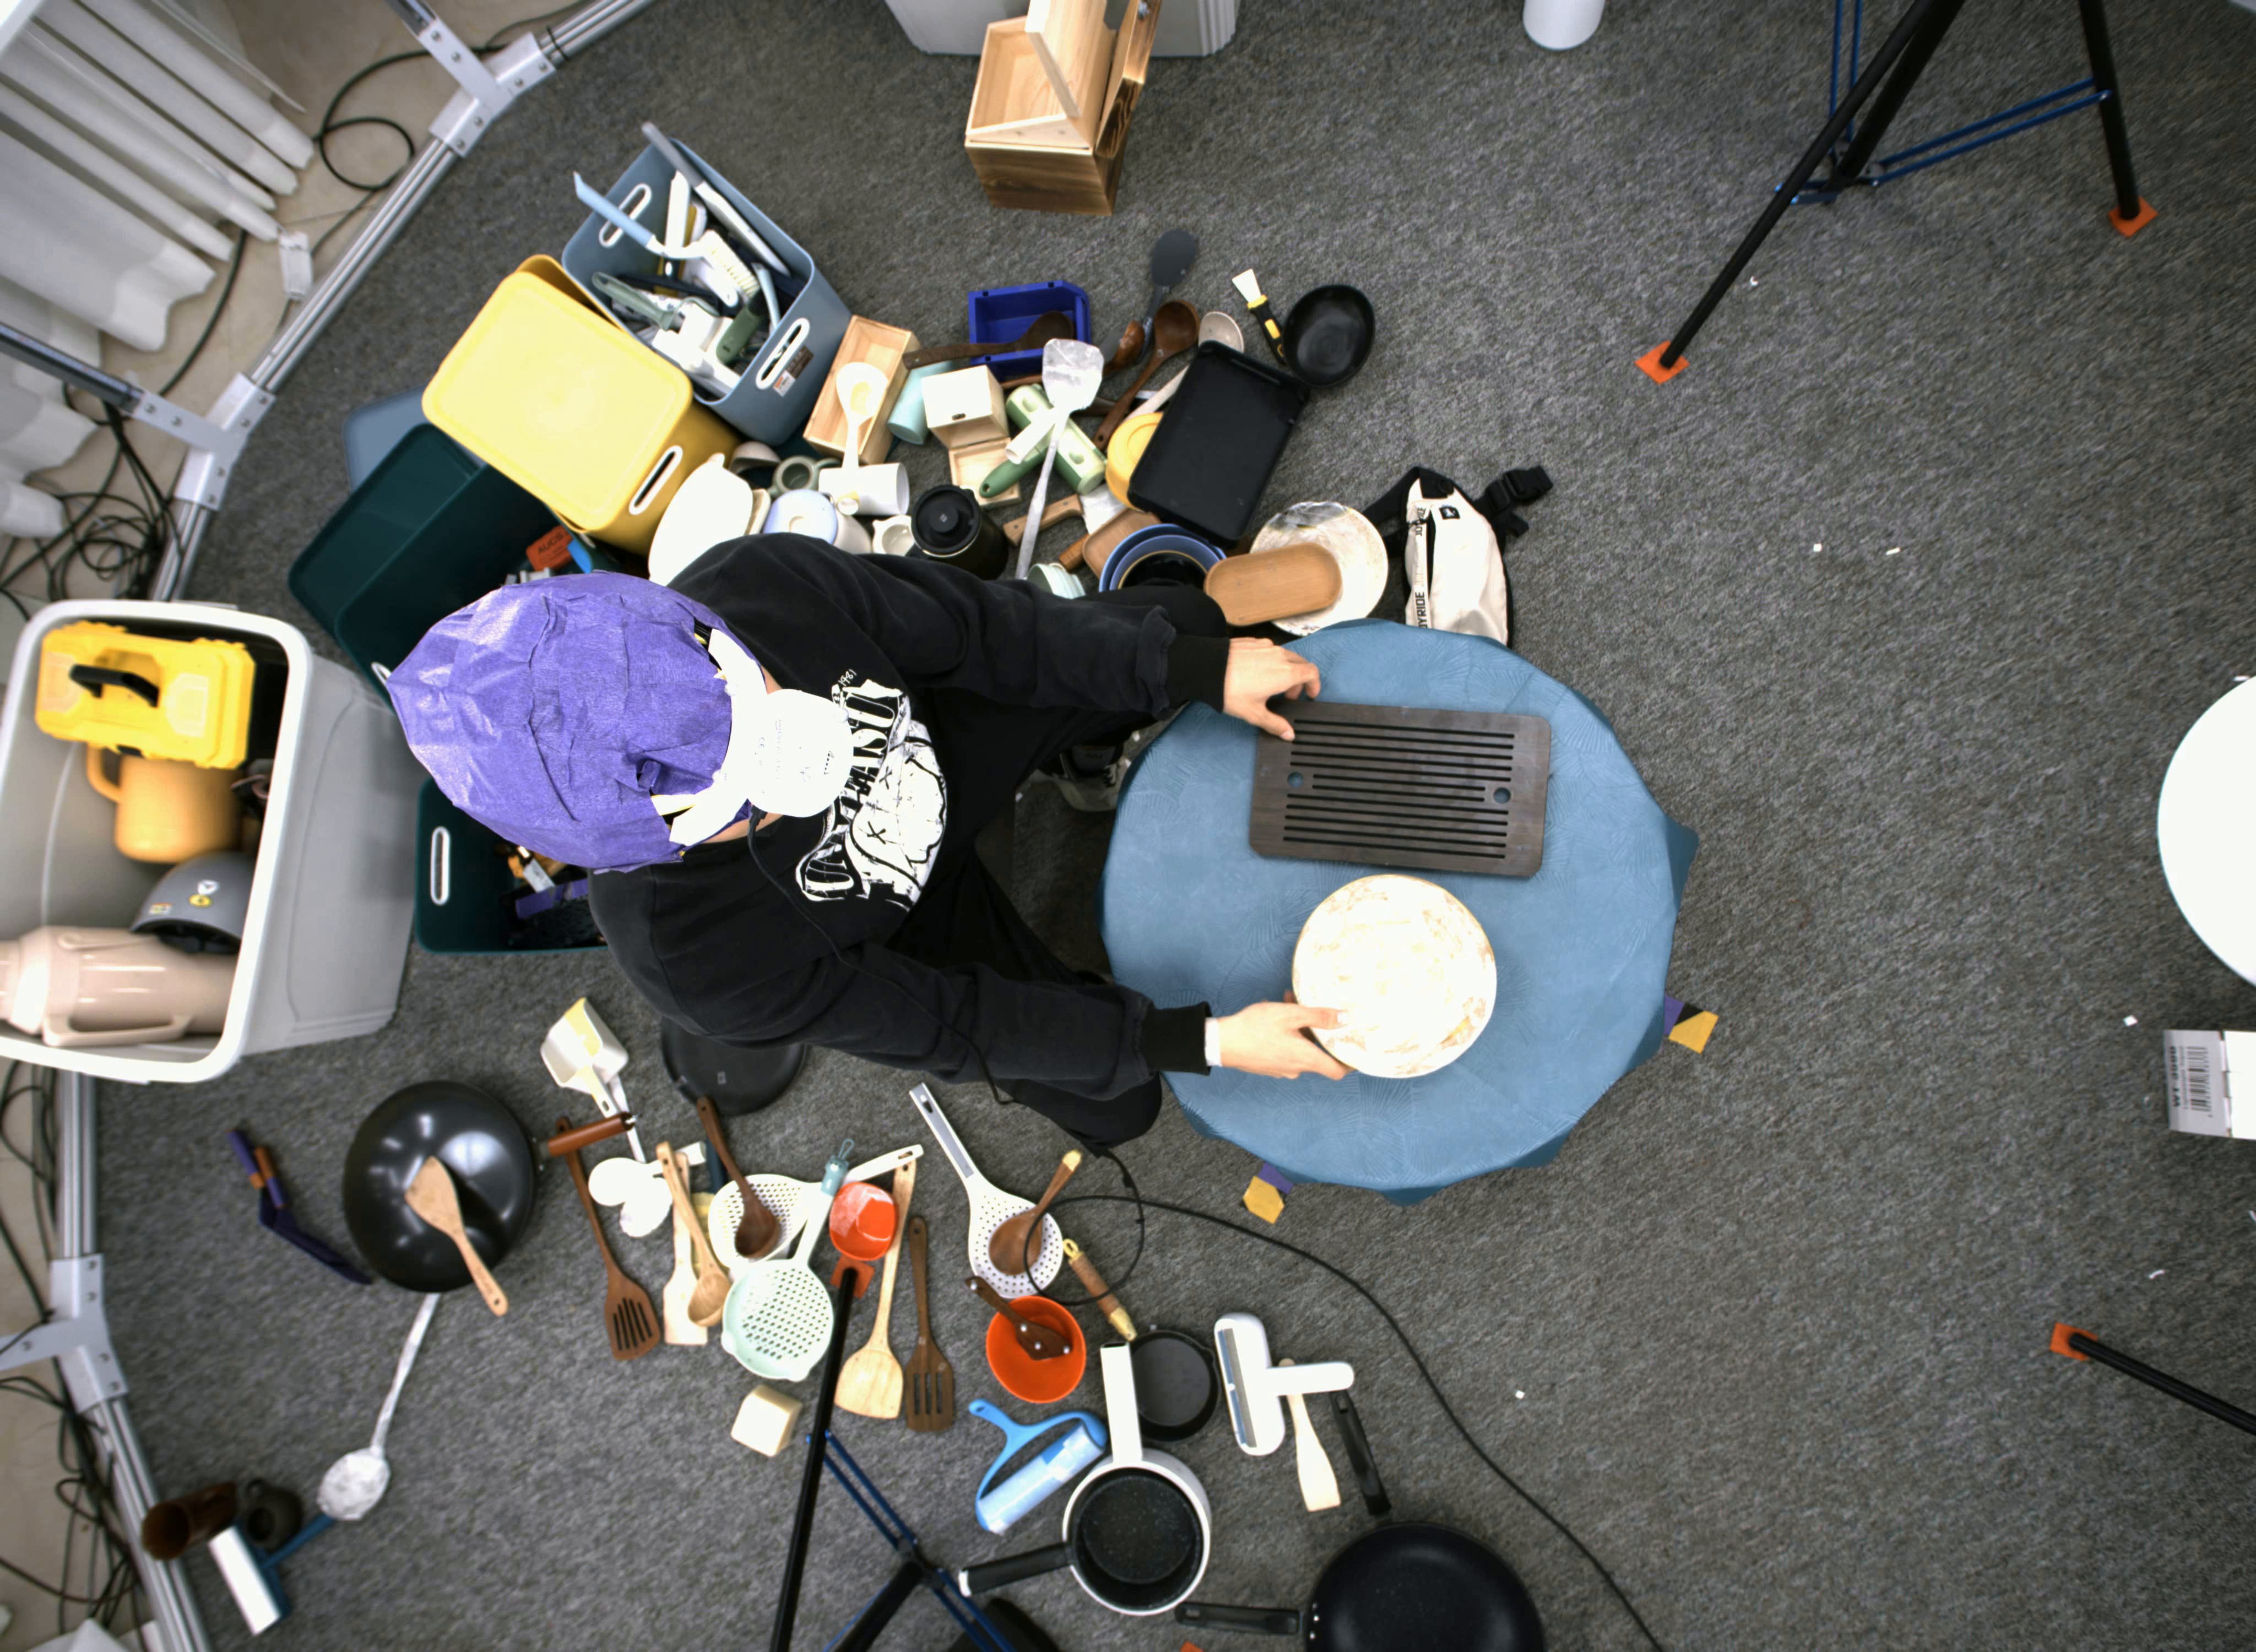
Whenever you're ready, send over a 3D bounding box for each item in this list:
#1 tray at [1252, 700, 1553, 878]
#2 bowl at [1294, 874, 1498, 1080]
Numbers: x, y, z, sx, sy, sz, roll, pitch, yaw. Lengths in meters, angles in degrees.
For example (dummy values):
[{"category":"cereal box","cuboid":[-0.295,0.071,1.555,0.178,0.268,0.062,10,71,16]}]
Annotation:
[{"category":"tray","cuboid":[0.289,-0.042,1.460,0.307,0.018,0.169,5,87,11]},{"category":"bowl","cuboid":[0.270,0.149,1.412,0.215,0.094,0.214,-1,87,10]}]
